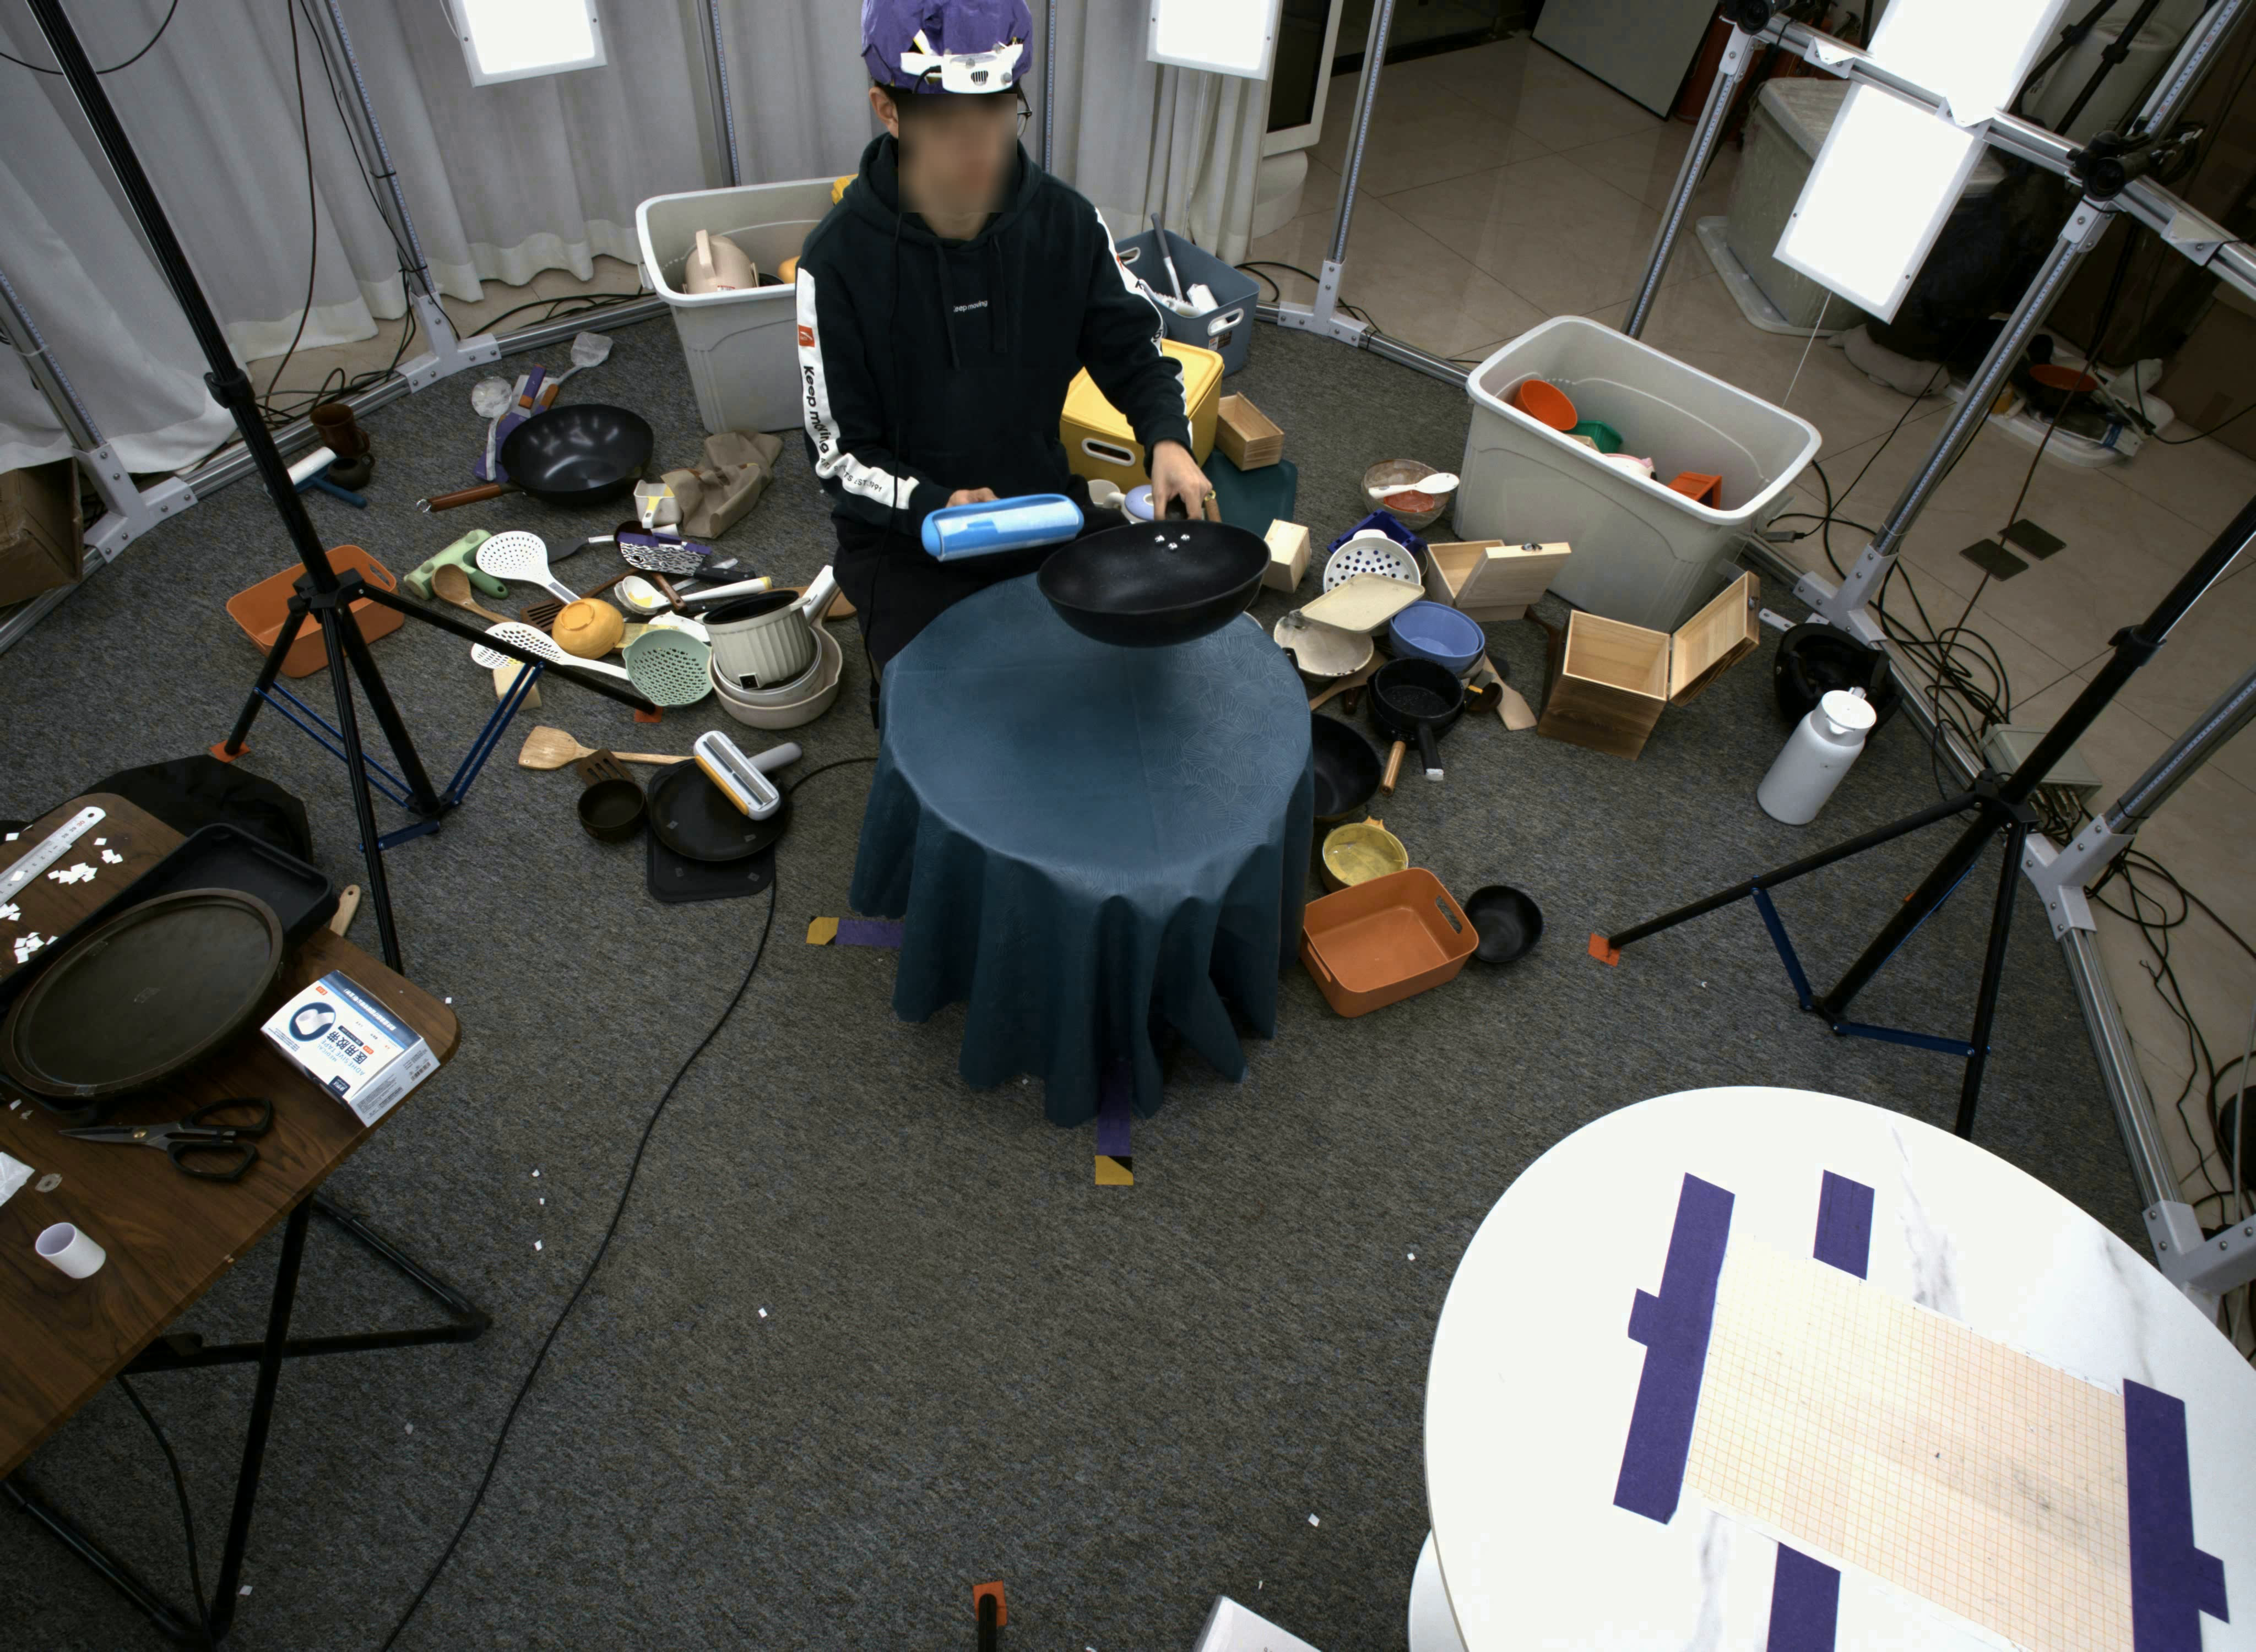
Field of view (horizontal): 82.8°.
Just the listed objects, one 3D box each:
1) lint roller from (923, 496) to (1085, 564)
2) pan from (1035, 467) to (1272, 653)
[{"bbox_3d":[-0.192,-0.413,1.784,0.229,0.067,0.183,-18,25,-24],"label":"lint roller"},{"bbox_3d":[0.050,-0.360,1.760,0.311,0.109,0.487,1,33,12],"label":"pan"}]
